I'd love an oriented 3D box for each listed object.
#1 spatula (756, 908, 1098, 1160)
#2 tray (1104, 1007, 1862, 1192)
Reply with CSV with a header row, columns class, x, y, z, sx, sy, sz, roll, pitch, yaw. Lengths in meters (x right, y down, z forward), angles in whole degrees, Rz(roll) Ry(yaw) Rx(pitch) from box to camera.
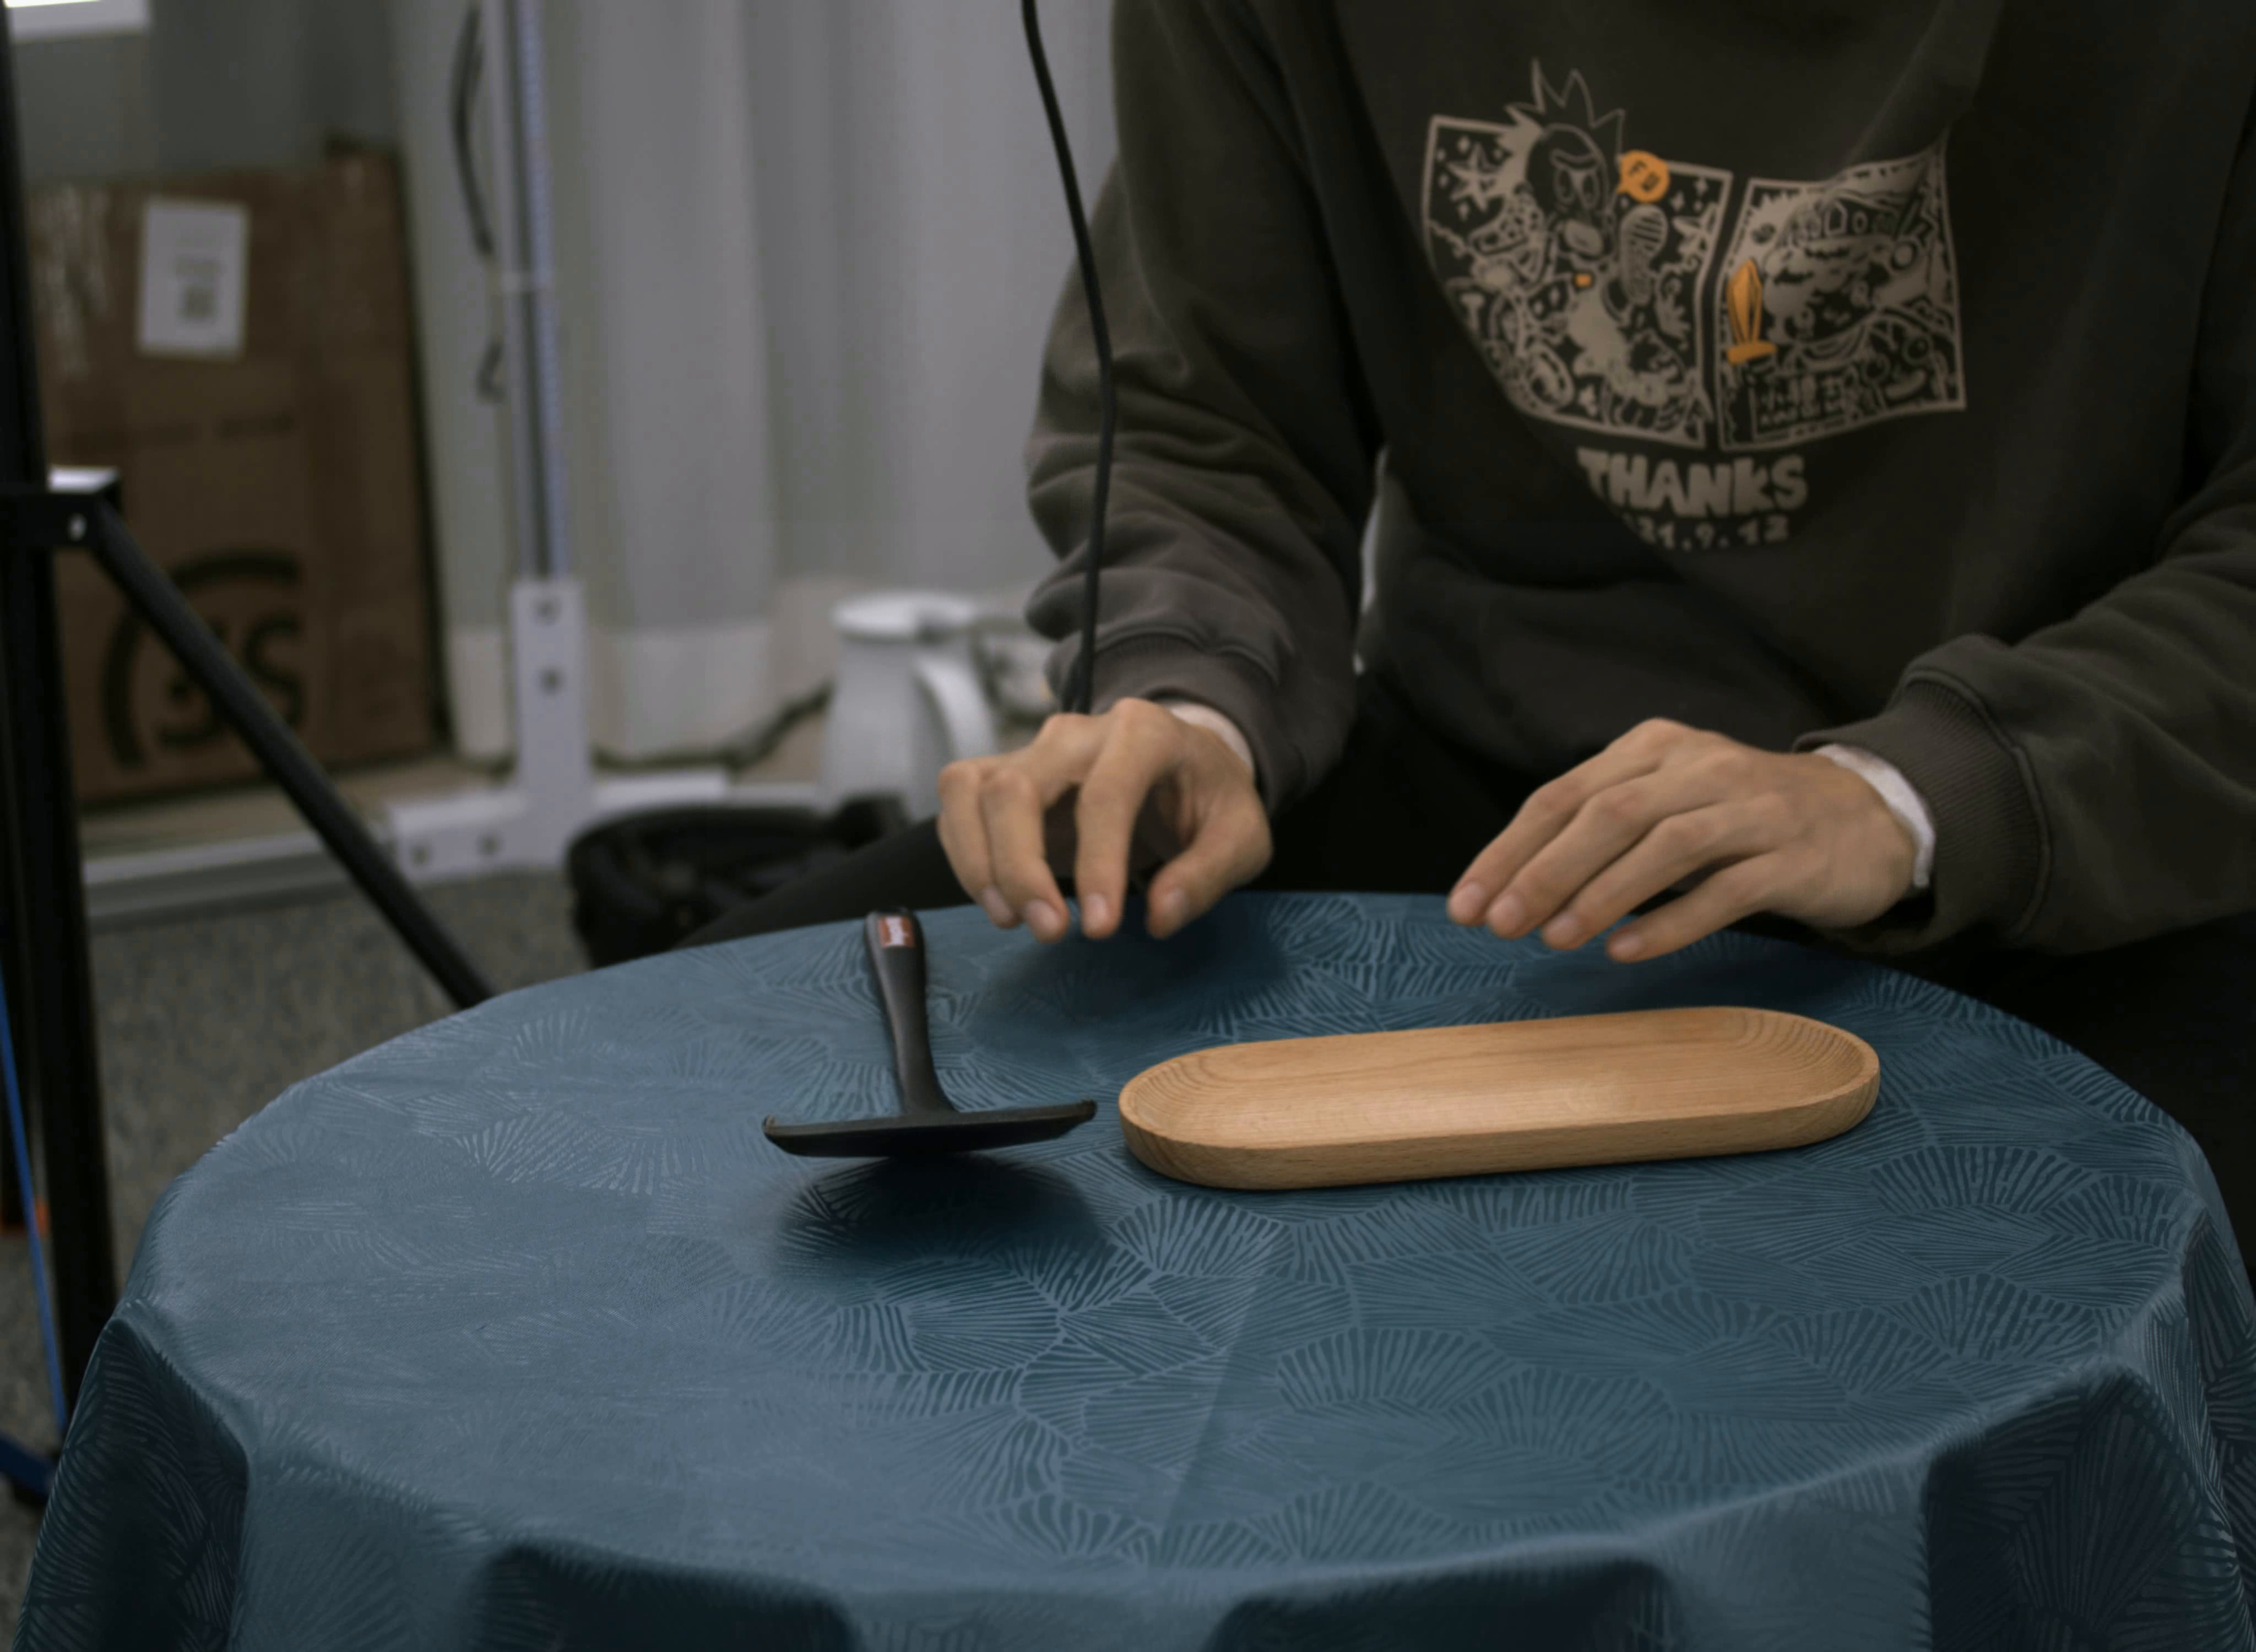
class,x,y,z,sx,sy,sz,roll,pitch,yaw
spatula,-0.070,0.061,1.675,0.099,0.040,0.328,-3,16,-4
tray,0.108,0.083,1.602,0.229,0.020,0.102,-5,16,-4
